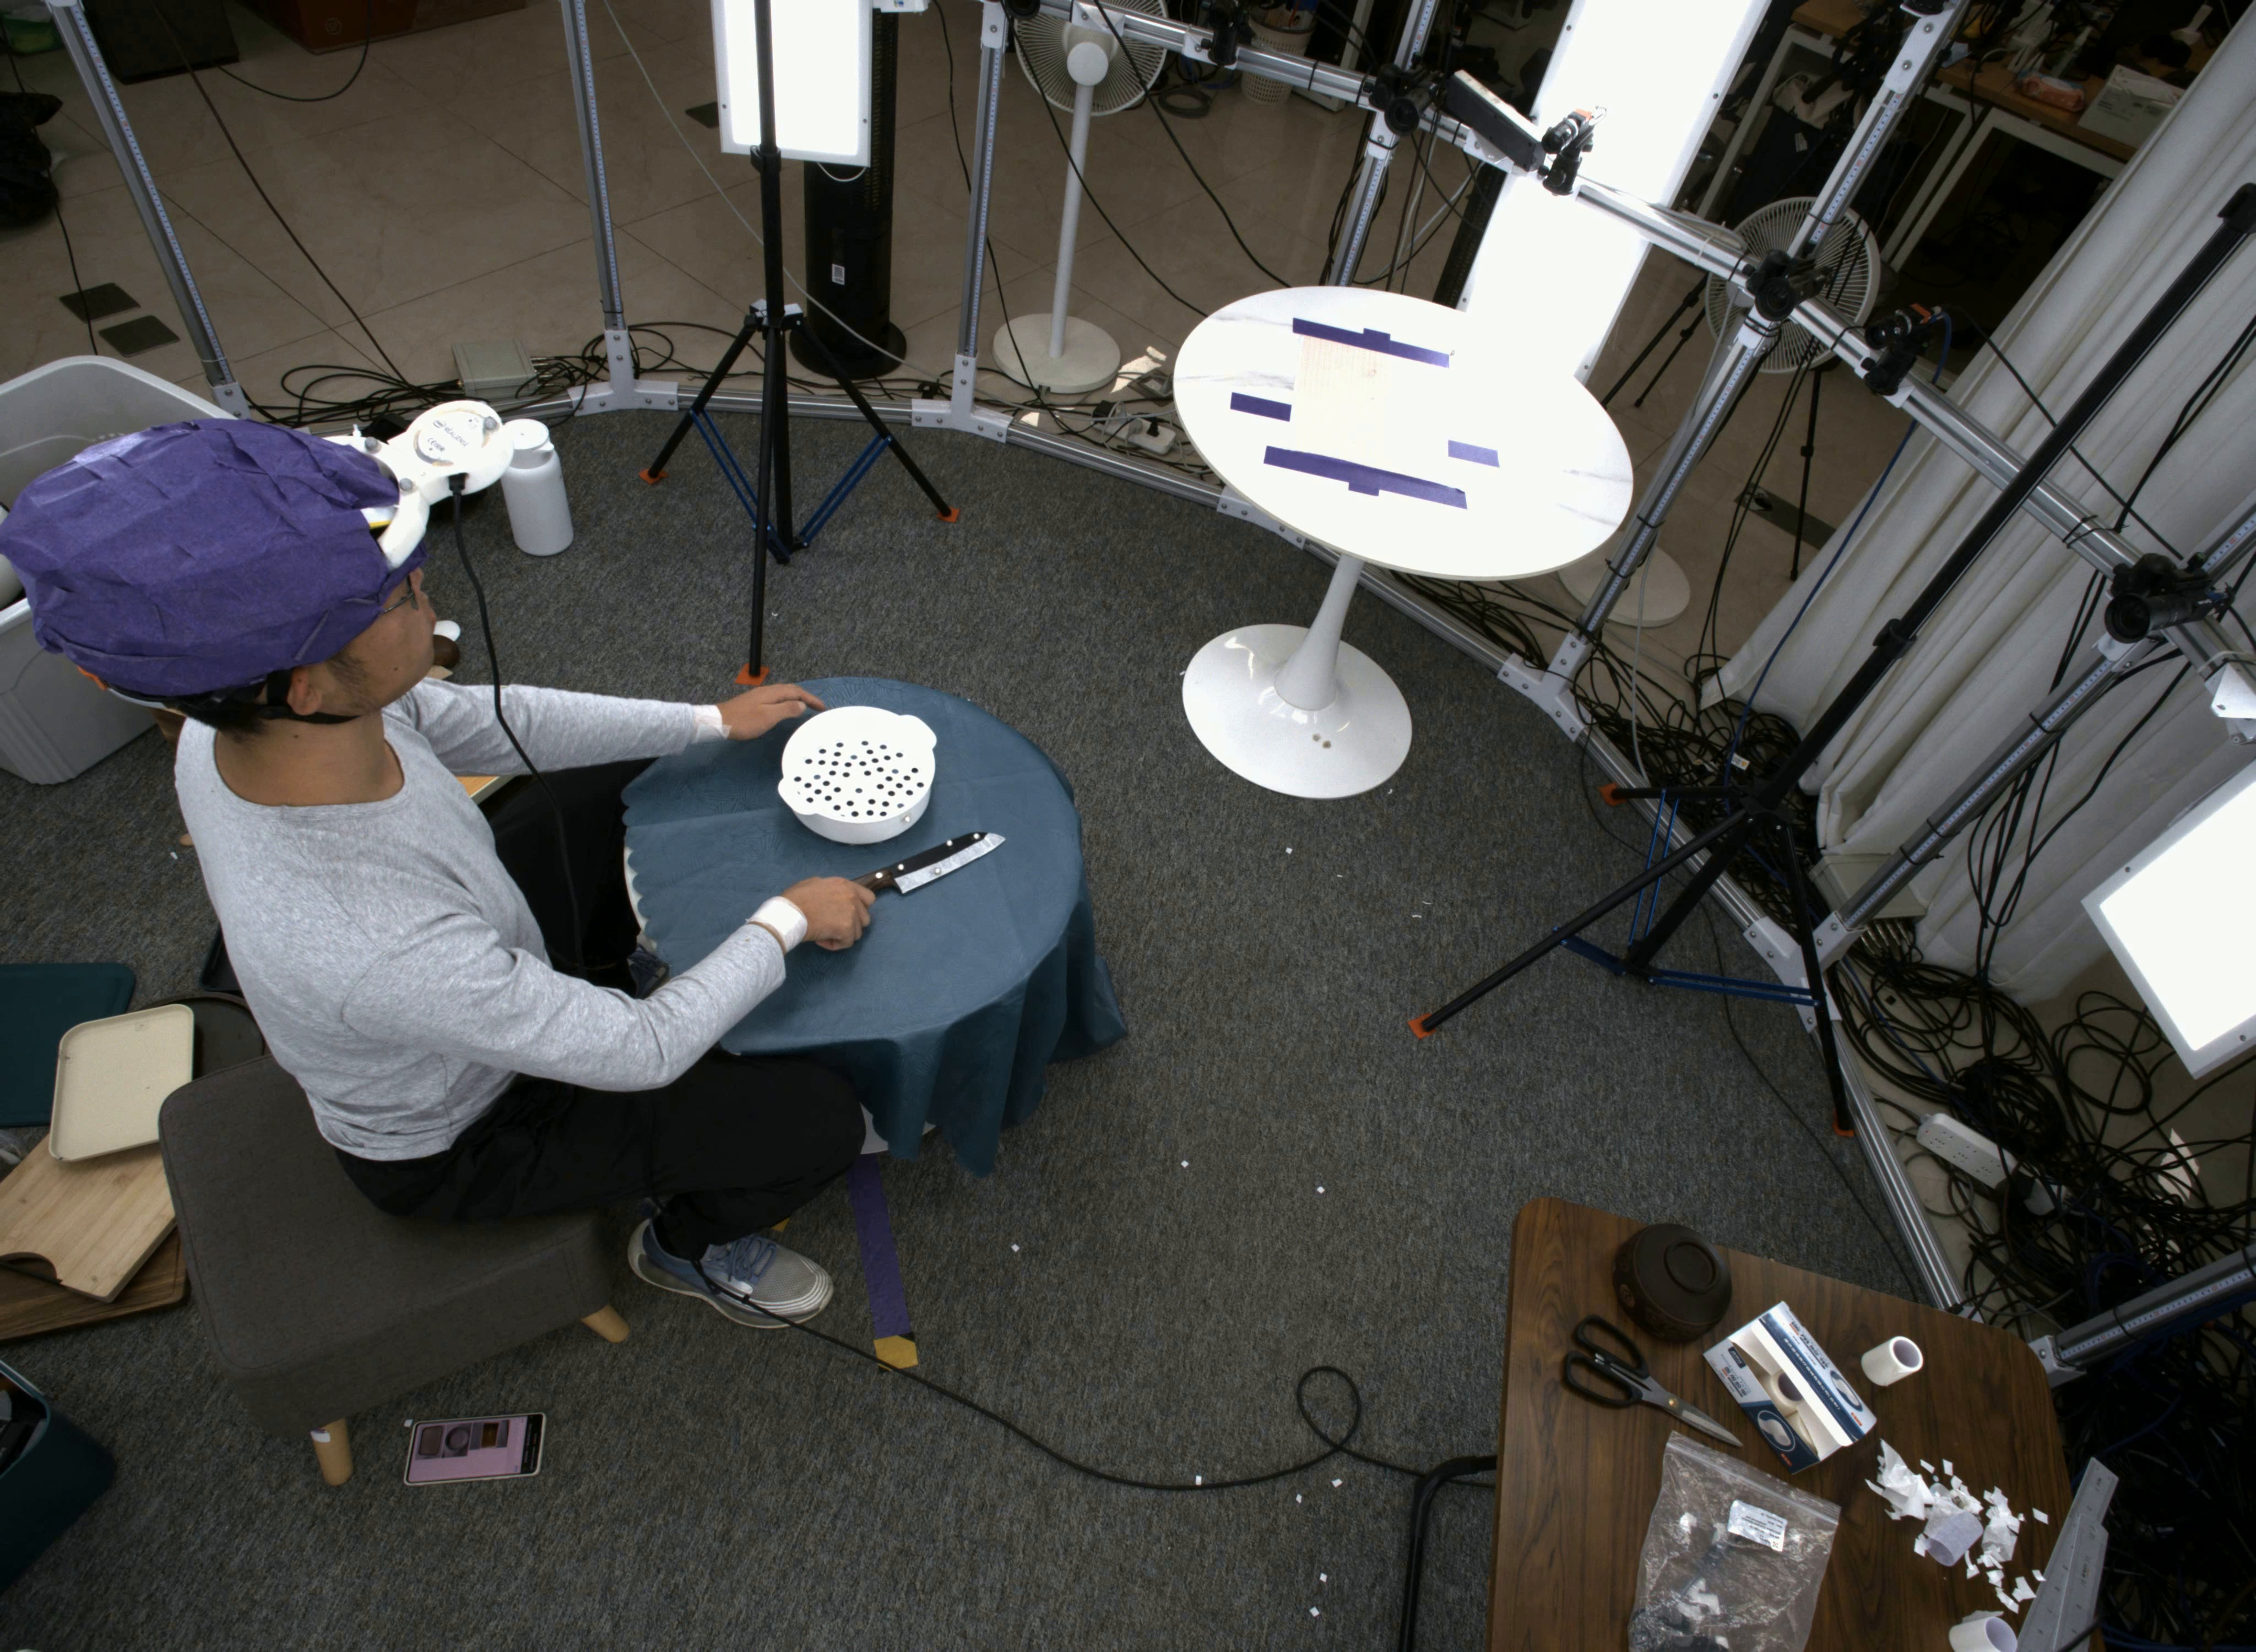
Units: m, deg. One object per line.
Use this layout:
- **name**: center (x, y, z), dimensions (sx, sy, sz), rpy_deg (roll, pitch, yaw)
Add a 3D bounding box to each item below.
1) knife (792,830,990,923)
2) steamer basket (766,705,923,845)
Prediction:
- **knife**: center (-0.306, 0.062, 1.710), dimensions (0.291, 0.020, 0.049), rpy_deg (-23, 68, -30)
- **steamer basket**: center (-0.380, -0.068, 1.754), dimensions (0.231, 0.070, 0.197), rpy_deg (-35, 68, -31)
